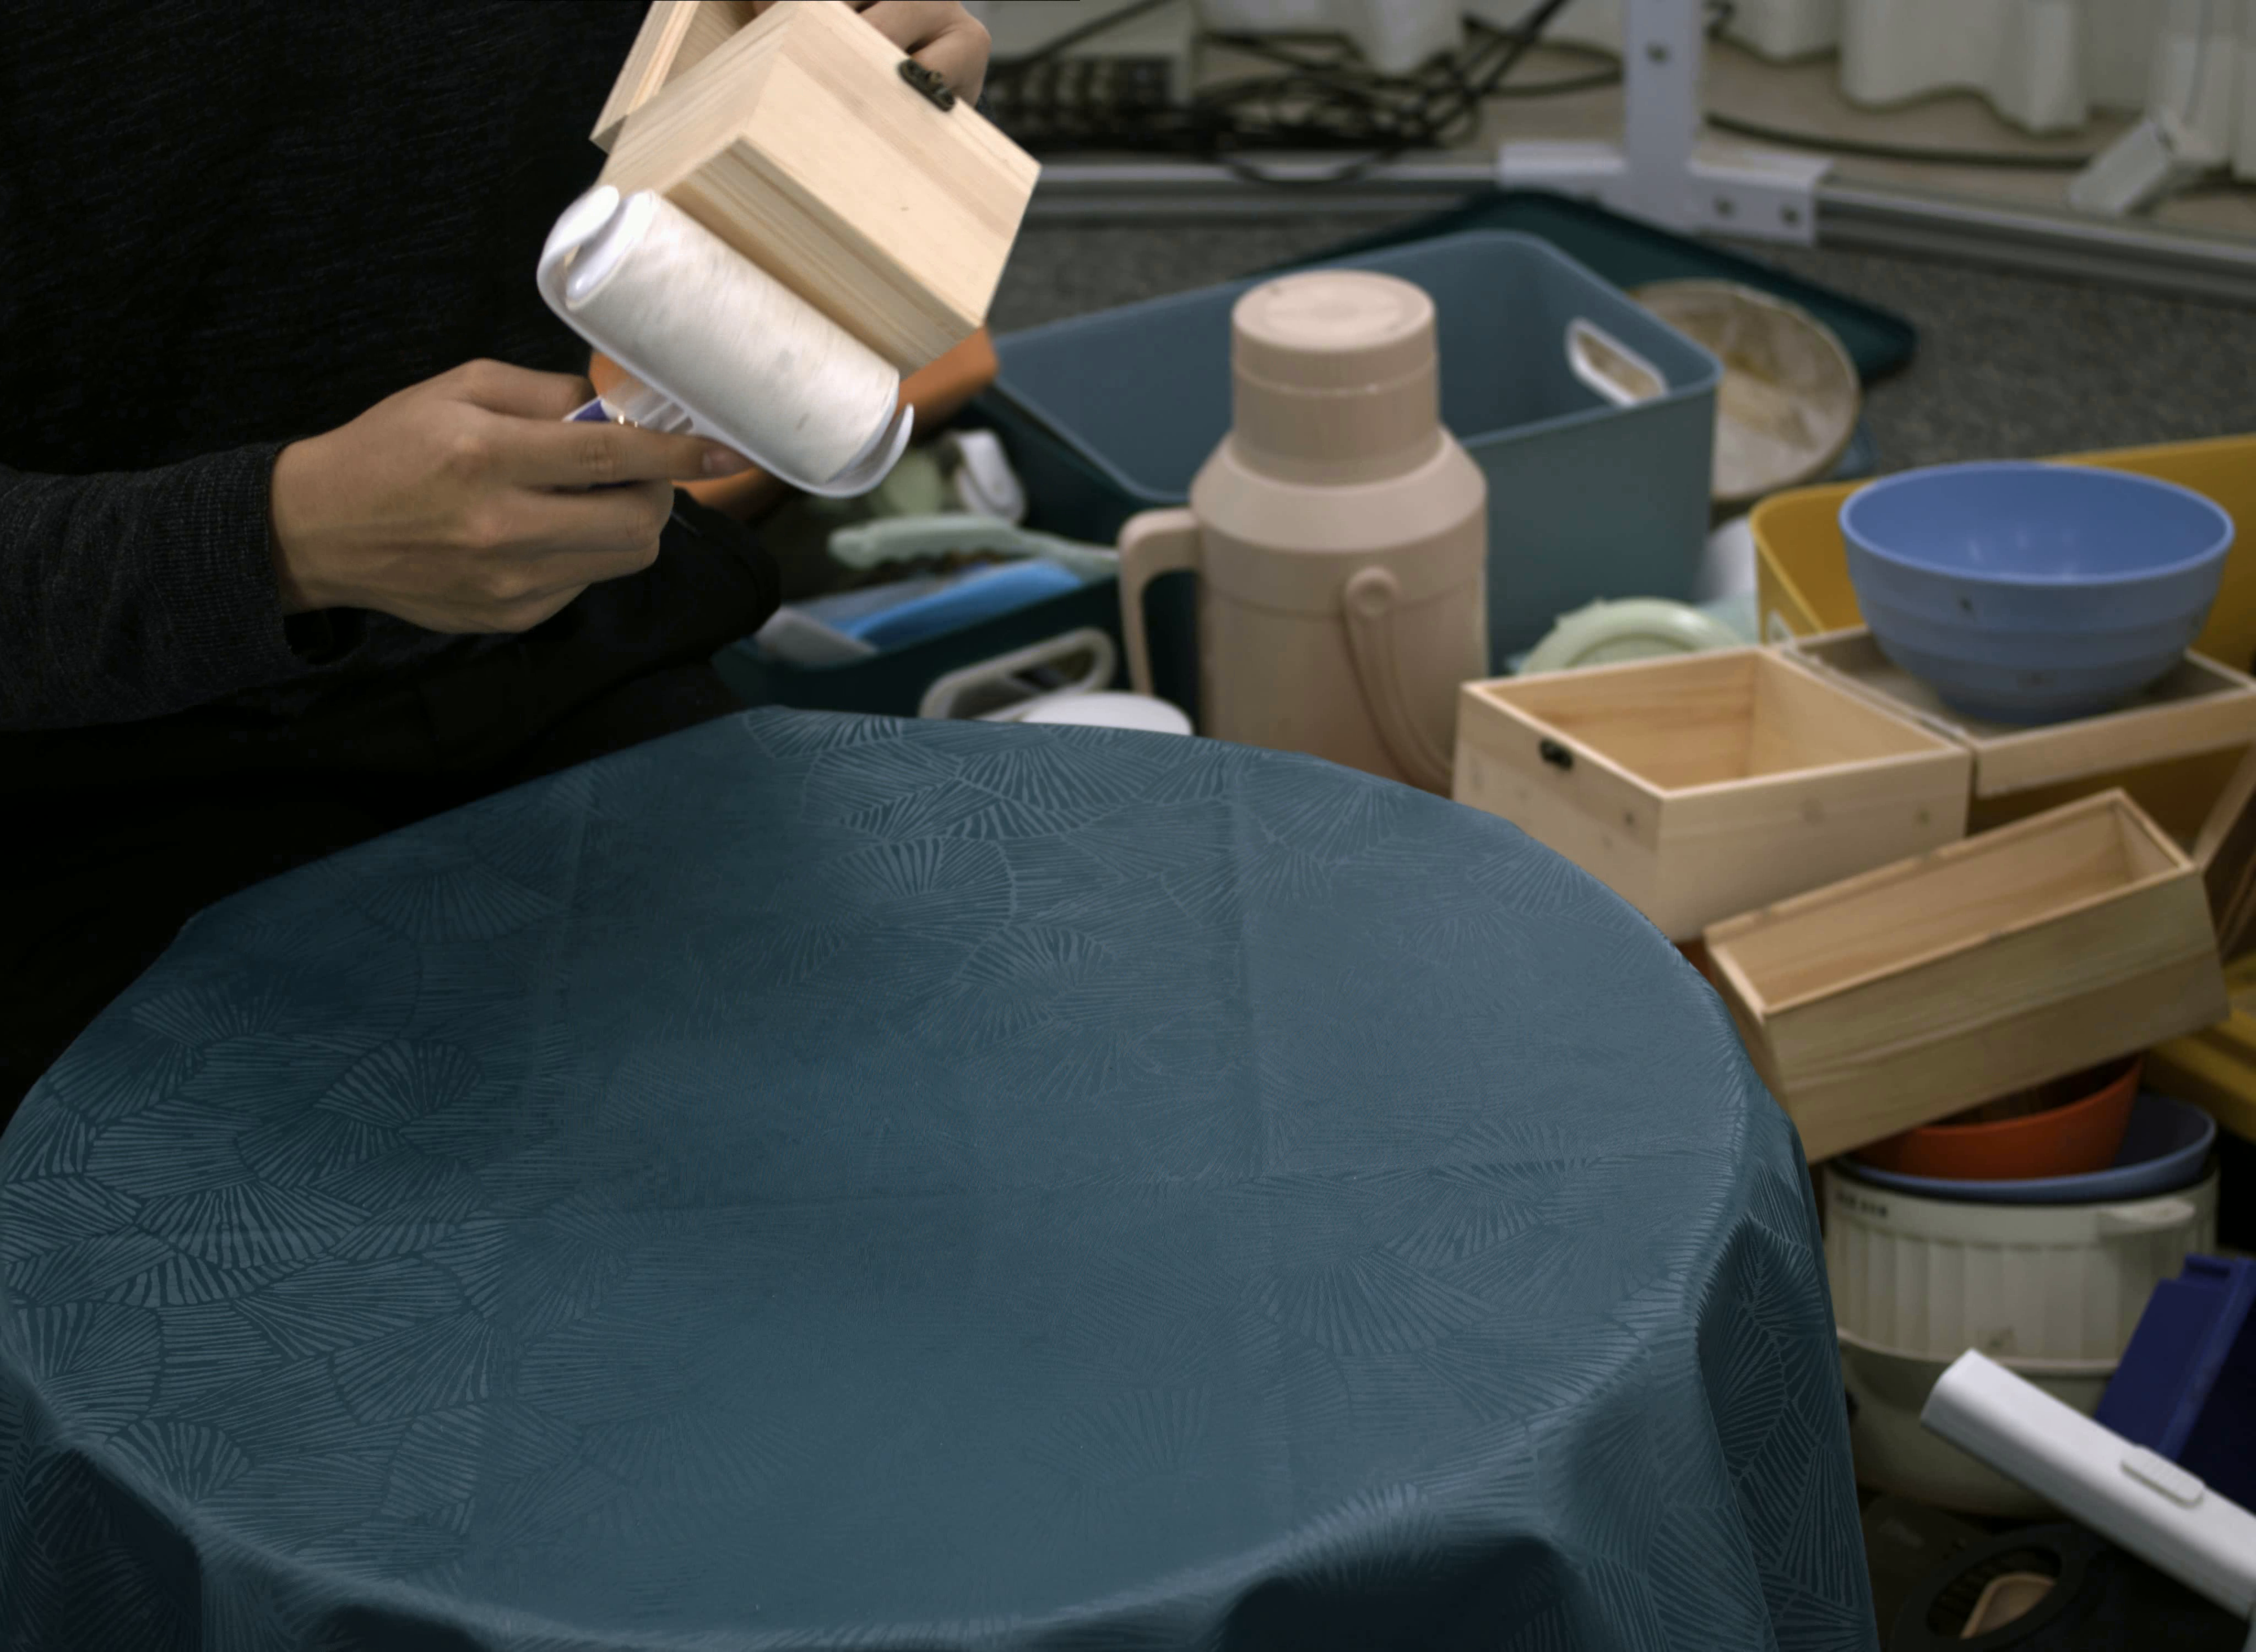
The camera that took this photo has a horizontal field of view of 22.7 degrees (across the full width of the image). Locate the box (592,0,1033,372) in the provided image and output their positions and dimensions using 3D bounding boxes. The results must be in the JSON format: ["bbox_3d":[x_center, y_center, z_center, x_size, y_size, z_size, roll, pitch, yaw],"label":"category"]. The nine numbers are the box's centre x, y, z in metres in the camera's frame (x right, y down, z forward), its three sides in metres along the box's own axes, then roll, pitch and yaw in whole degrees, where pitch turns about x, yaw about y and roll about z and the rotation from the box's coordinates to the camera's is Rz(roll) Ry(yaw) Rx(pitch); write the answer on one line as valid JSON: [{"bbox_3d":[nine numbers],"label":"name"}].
[{"bbox_3d":[-0.100,-0.234,1.871,0.132,0.102,0.188,-30,30,42],"label":"box"}]

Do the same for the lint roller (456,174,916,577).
[{"bbox_3d":[-0.167,-0.125,1.821,0.178,0.132,0.051,-39,25,32],"label":"lint roller"}]
